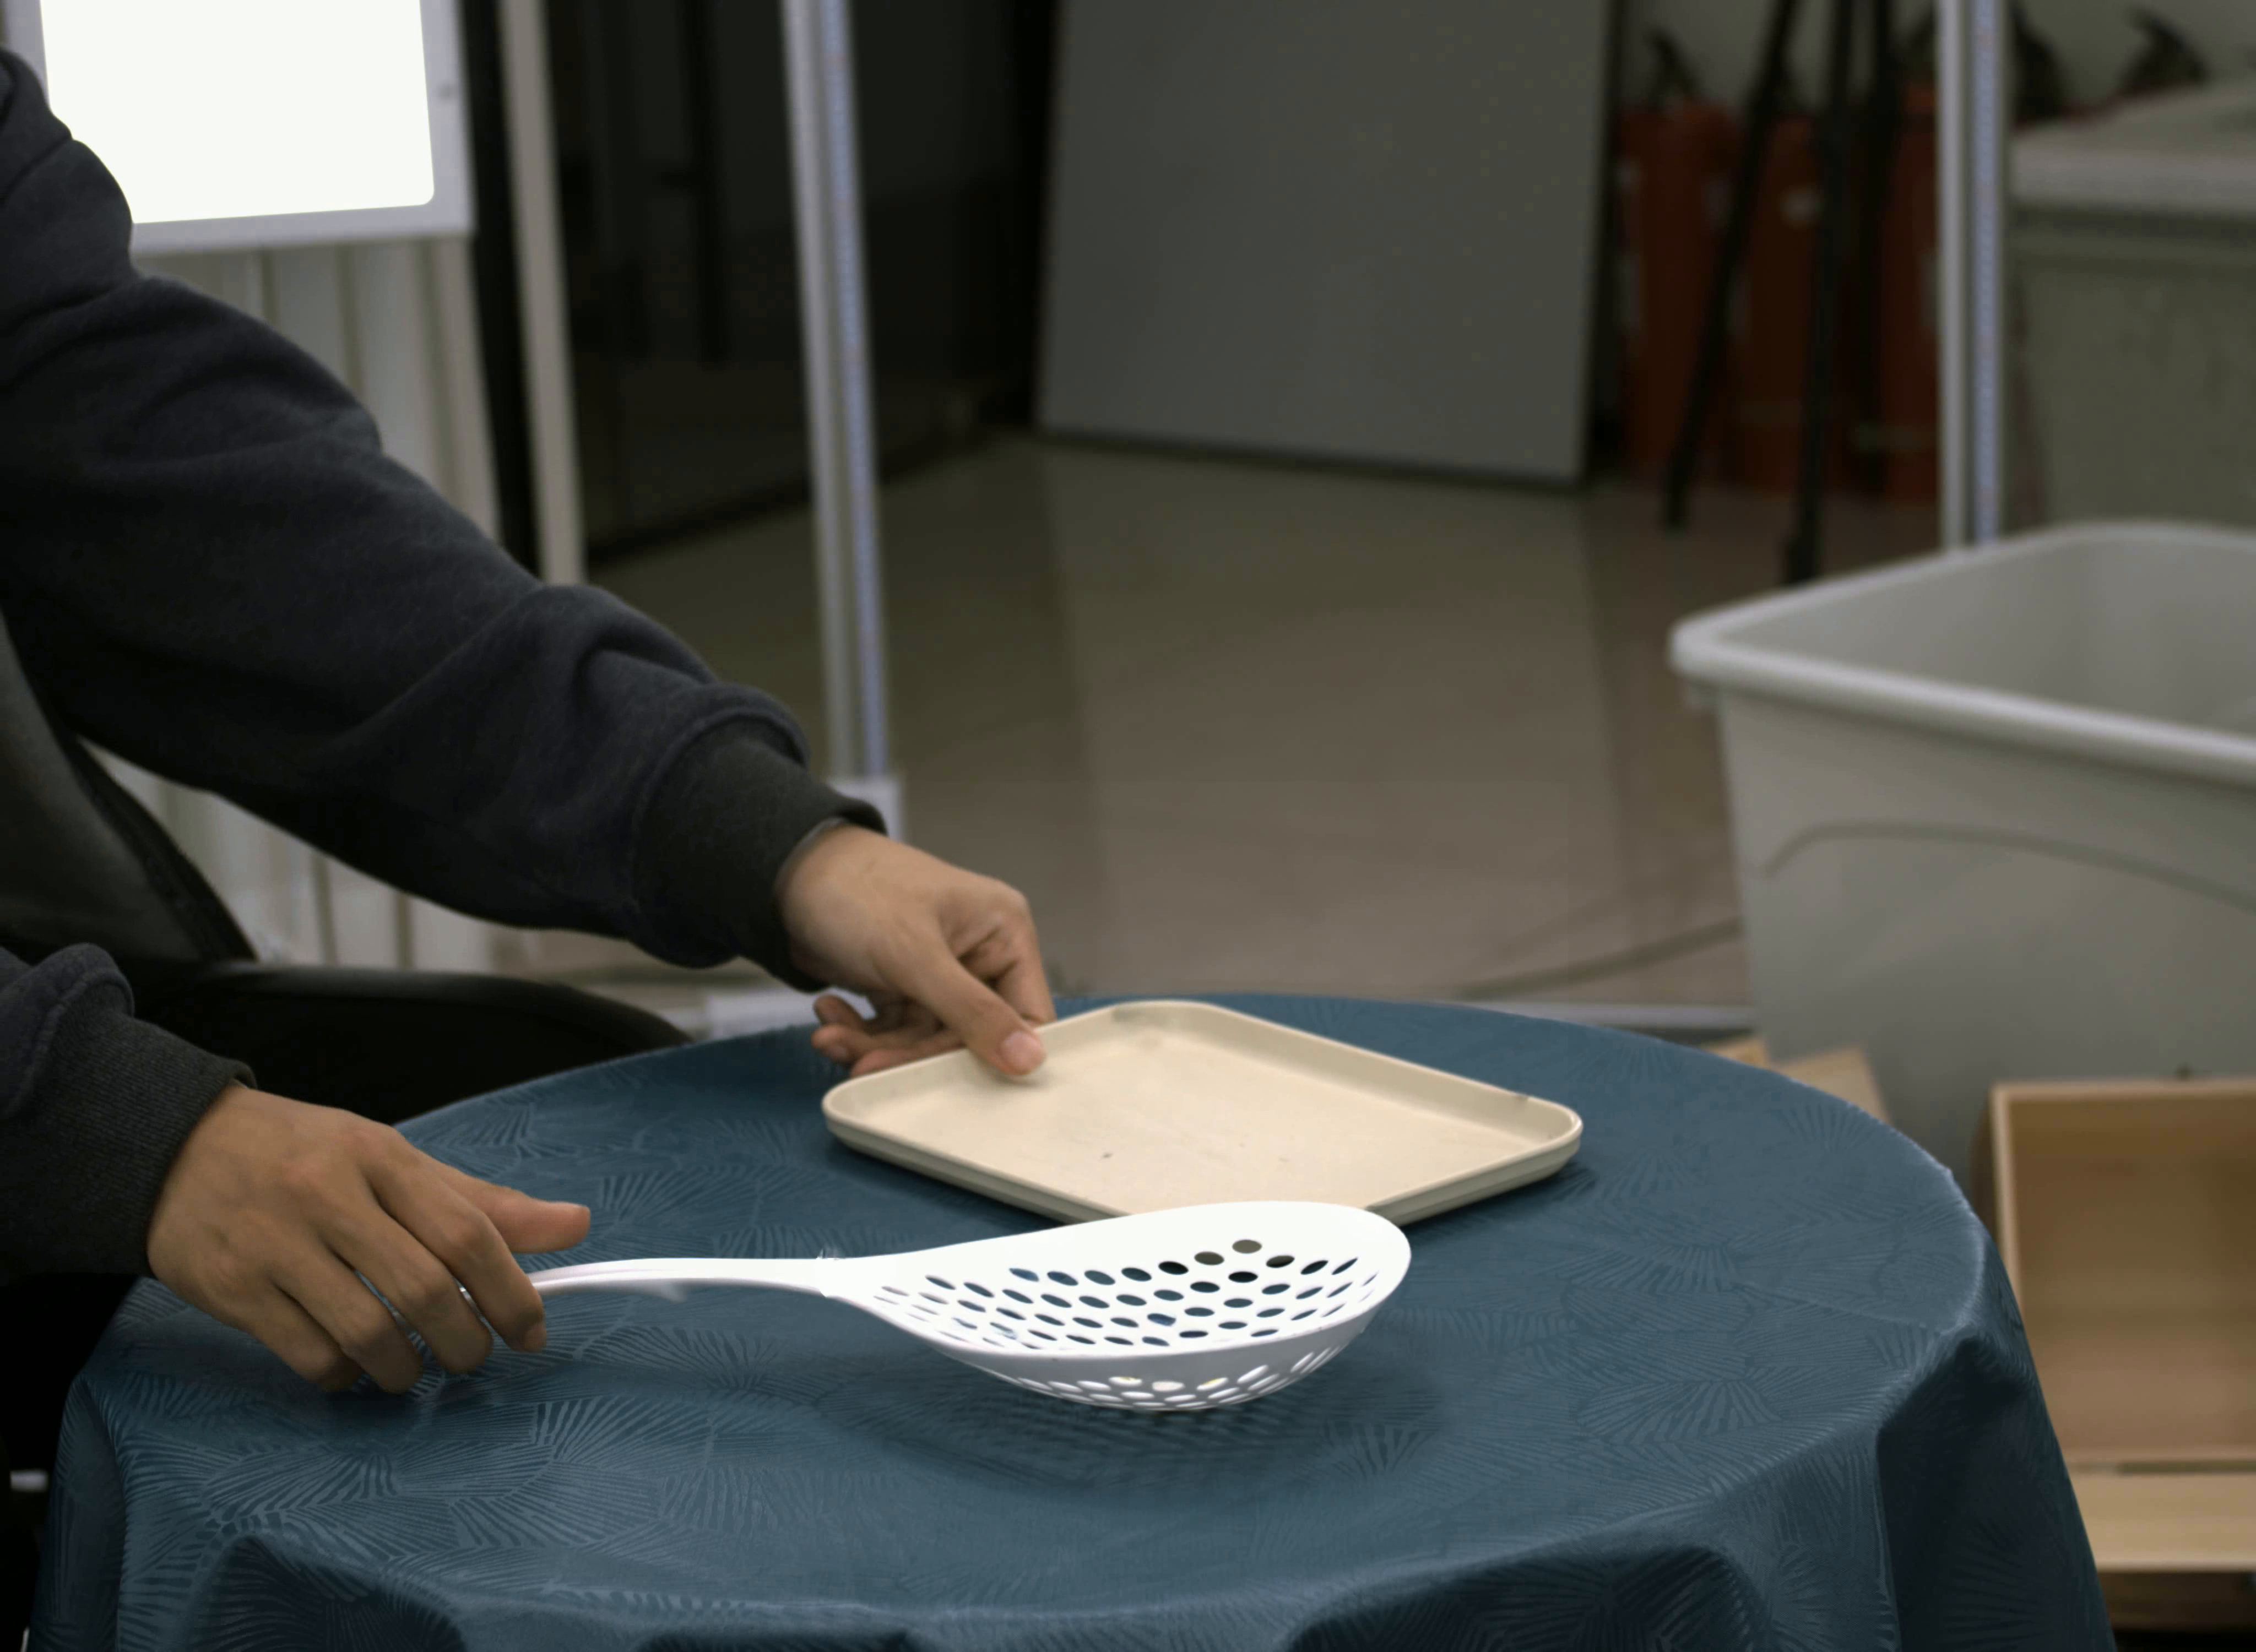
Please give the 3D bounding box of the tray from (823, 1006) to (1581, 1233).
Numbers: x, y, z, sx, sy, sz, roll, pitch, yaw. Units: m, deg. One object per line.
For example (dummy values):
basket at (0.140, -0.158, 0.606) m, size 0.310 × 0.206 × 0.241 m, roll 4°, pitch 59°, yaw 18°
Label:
tray at (0.023, 0.103, 1.799) m, size 0.167 × 0.017 × 0.242 m, roll -15°, pitch 17°, yaw -36°

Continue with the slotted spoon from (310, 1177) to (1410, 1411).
slotted spoon at (-0.084, 0.144, 1.608) m, size 0.347 × 0.051 × 0.135 m, roll 1°, pitch 16°, yaw 19°
